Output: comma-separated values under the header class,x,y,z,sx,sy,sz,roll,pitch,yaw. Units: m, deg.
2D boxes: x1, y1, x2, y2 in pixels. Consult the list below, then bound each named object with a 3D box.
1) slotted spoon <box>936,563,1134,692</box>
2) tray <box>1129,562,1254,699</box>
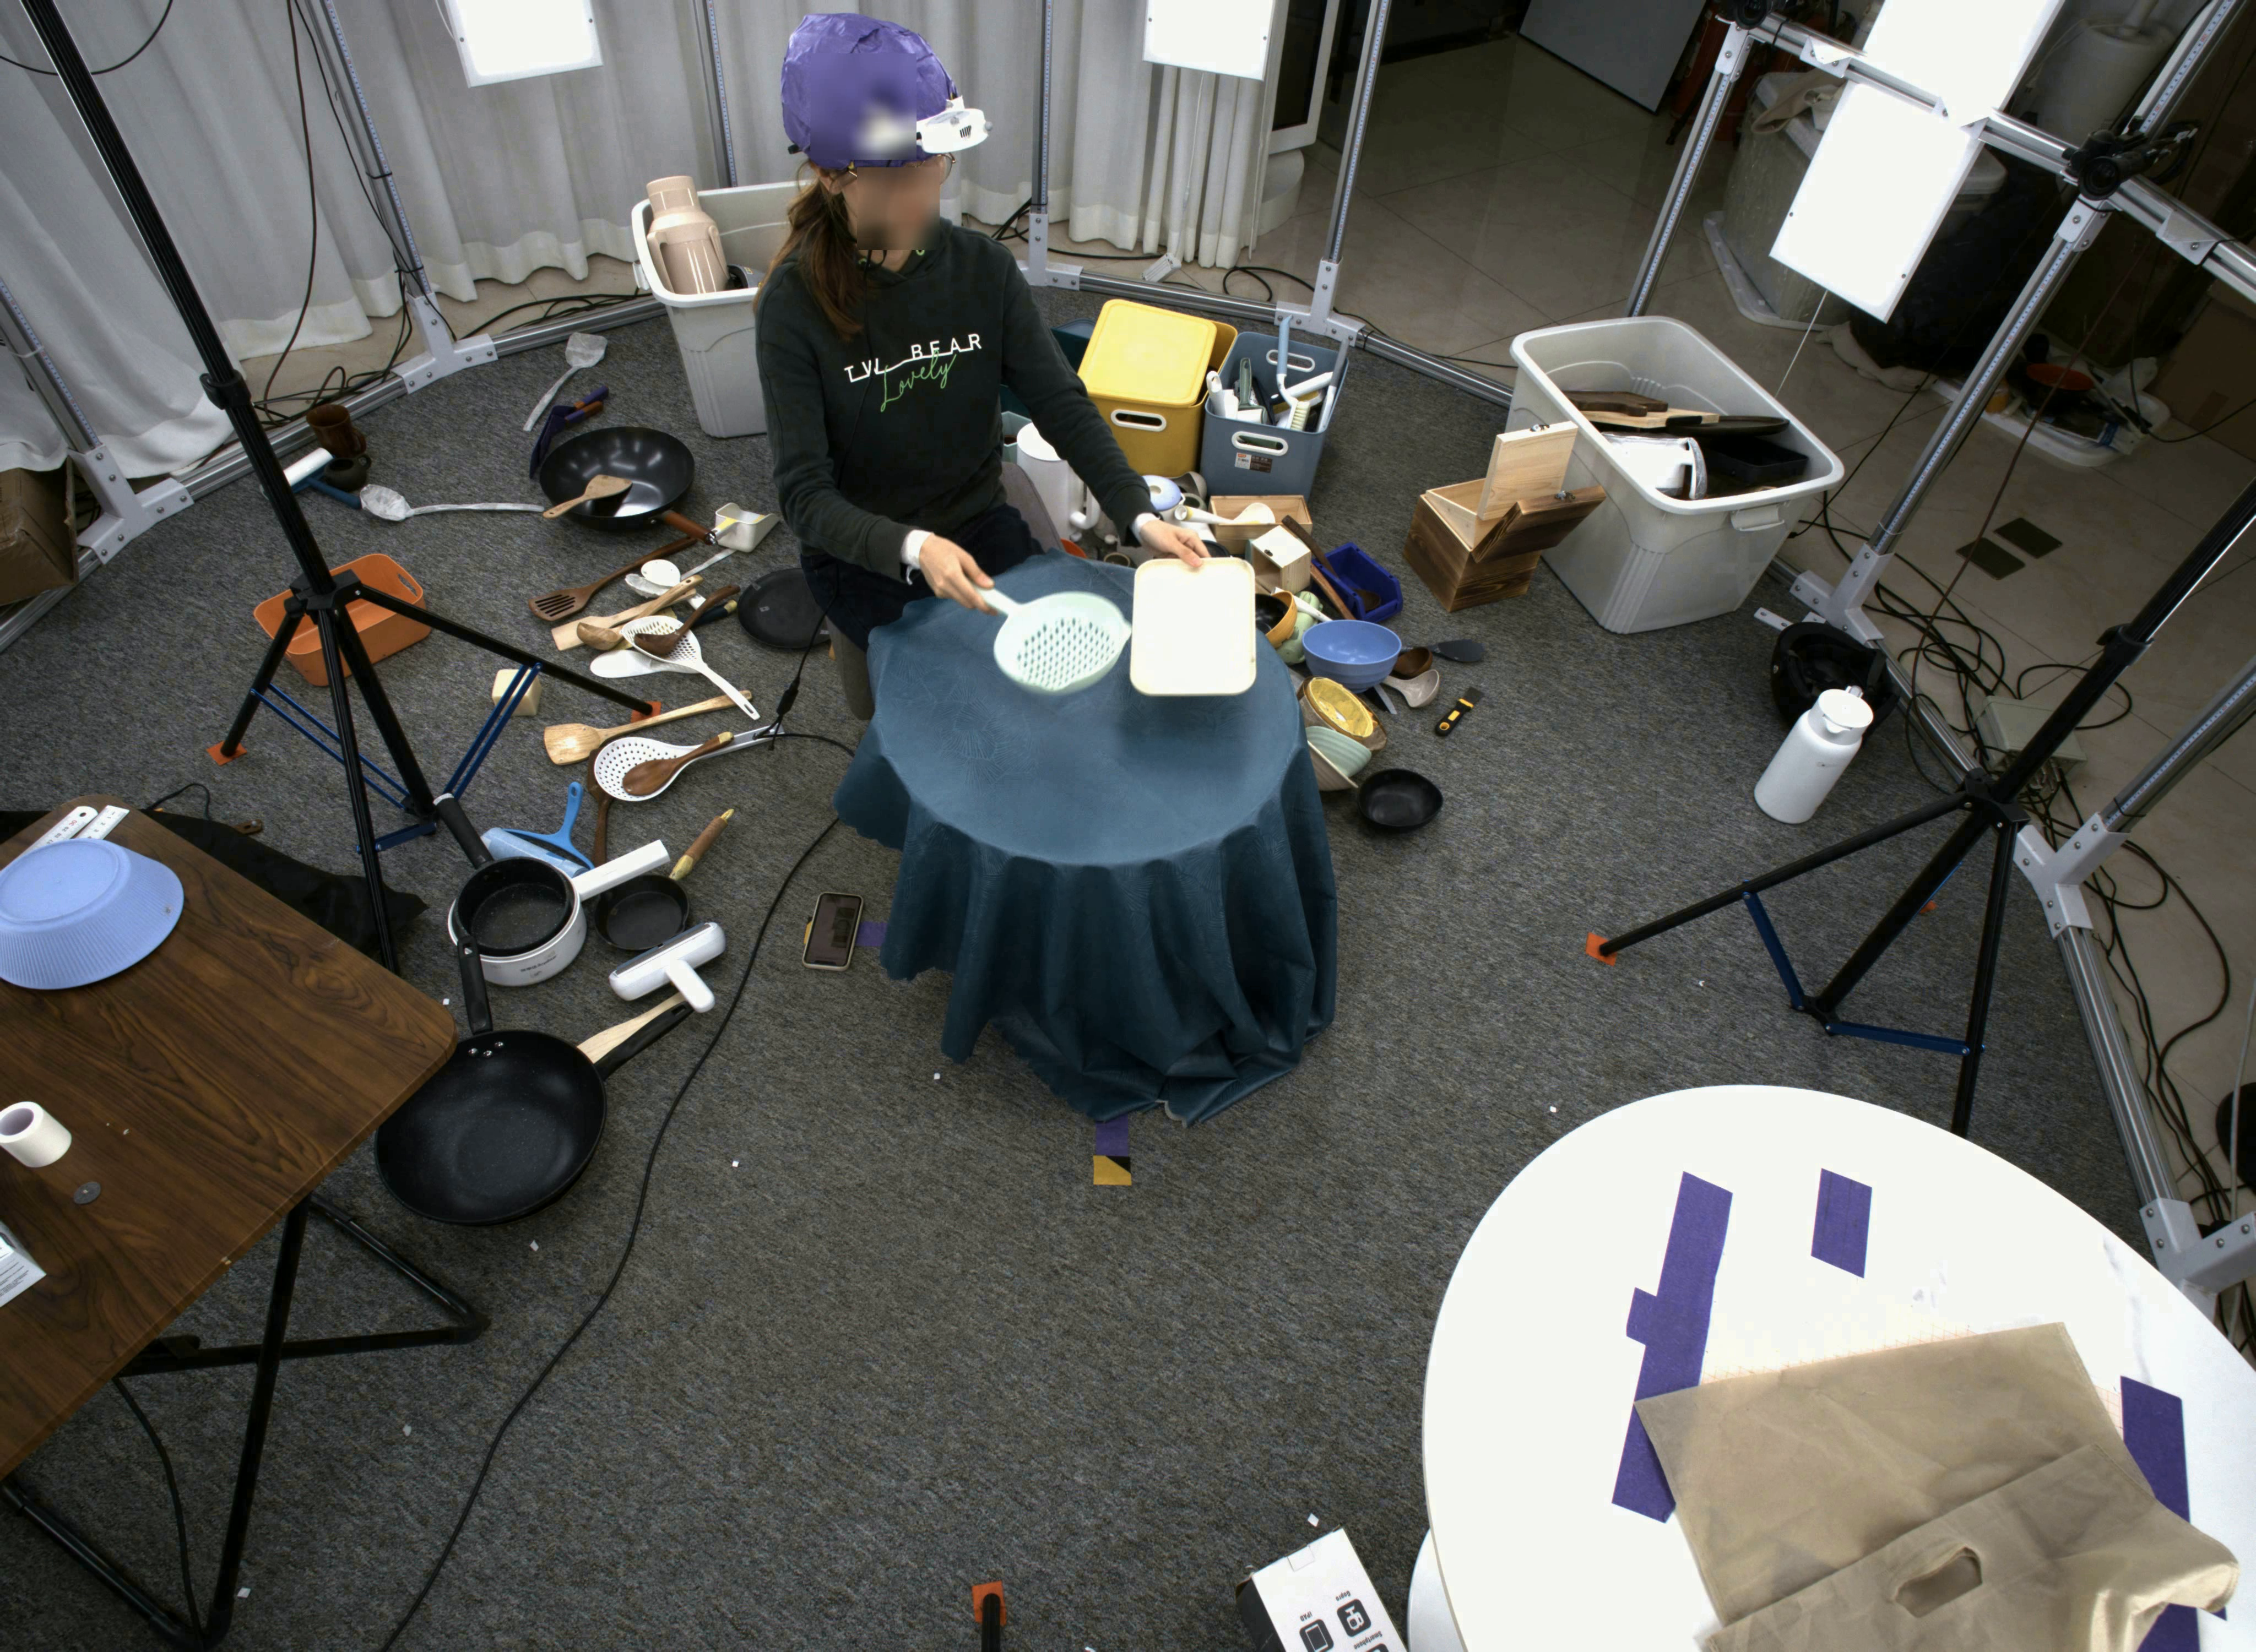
class,x,y,z,sx,sy,sz,roll,pitch,yaw
slotted spoon,-0.148,-0.285,1.718,0.171,0.073,0.364,-39,59,-21
tray,0.090,-0.273,1.793,0.171,0.017,0.245,-1,57,6
